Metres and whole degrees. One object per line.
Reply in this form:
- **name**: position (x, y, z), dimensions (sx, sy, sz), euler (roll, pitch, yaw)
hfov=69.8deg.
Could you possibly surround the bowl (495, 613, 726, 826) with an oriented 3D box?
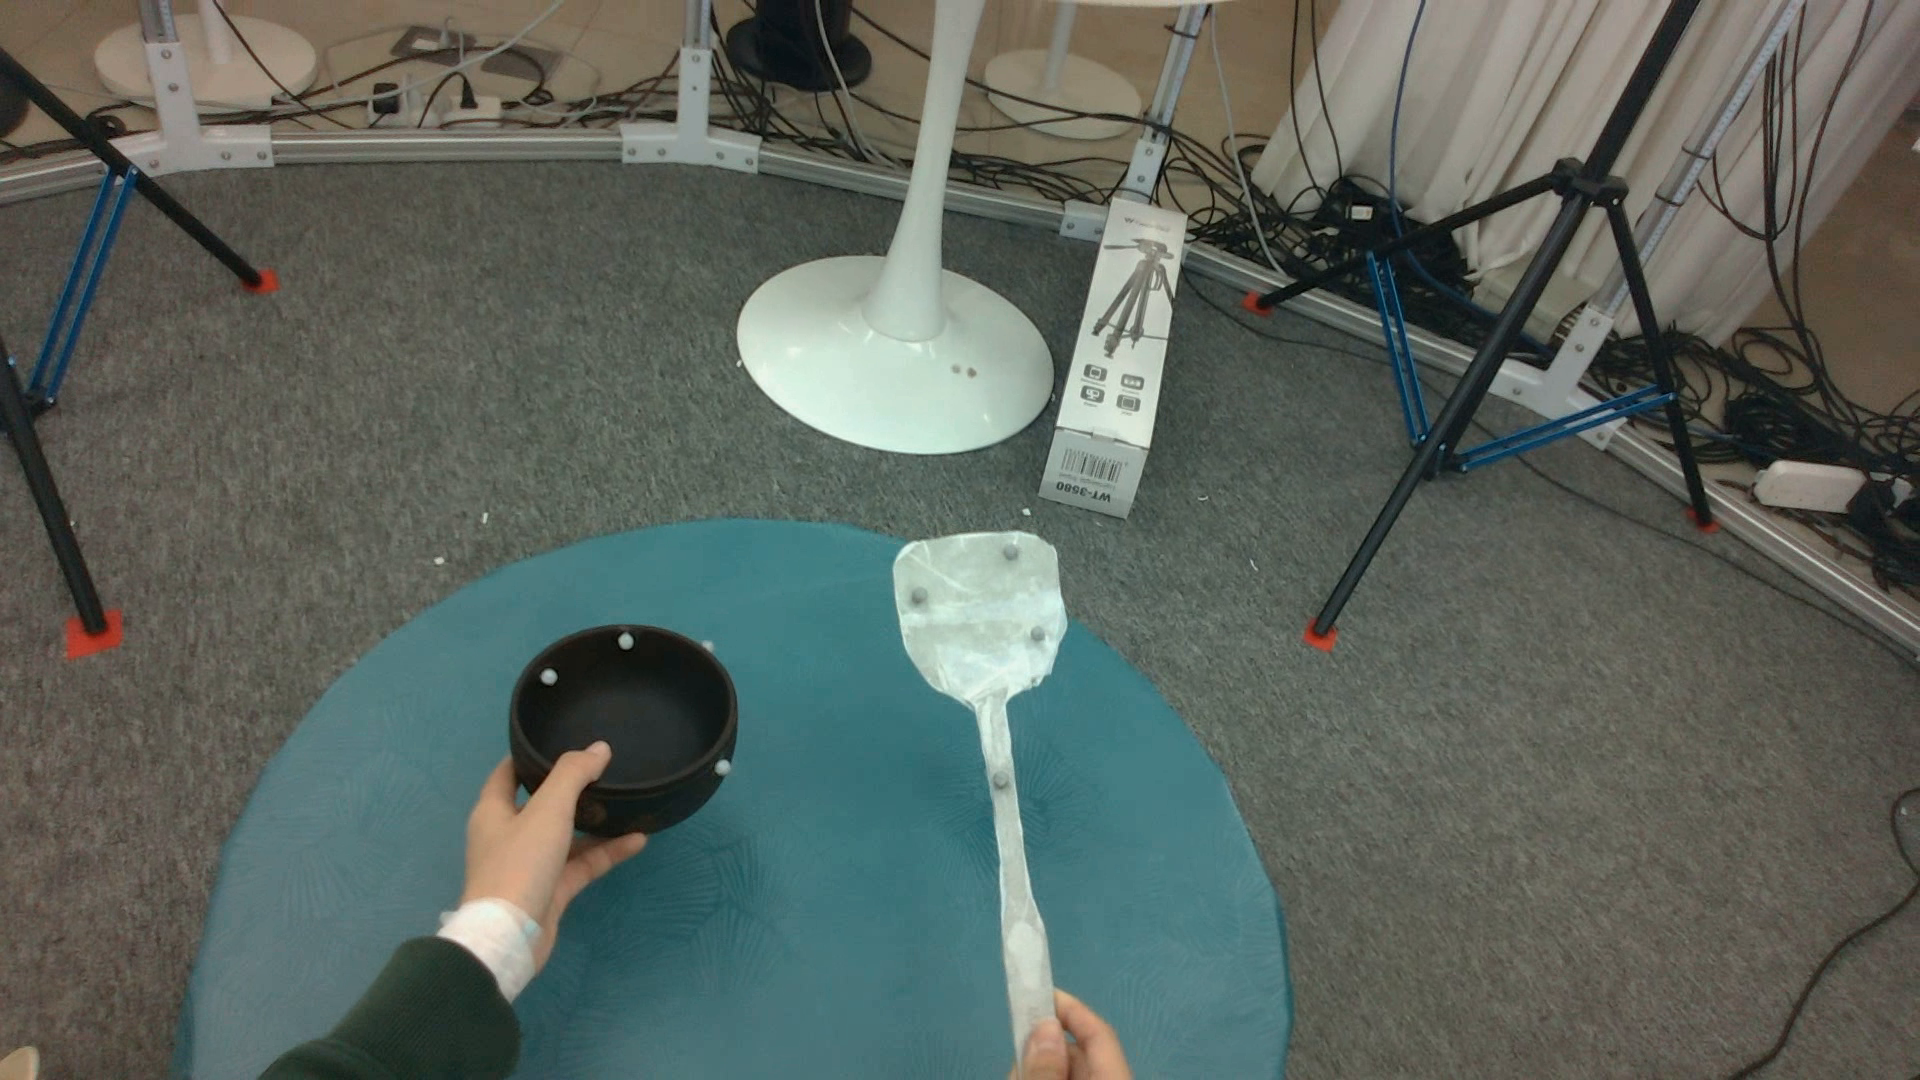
- **bowl**: position (-0.186, 0.103, 0.737), dimensions (0.118, 0.069, 0.118), euler (7, 41, -6)

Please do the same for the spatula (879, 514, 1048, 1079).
- **spatula**: position (0.017, 0.134, 0.700), dimensions (0.099, 0.044, 0.366), euler (-2, 48, -6)
